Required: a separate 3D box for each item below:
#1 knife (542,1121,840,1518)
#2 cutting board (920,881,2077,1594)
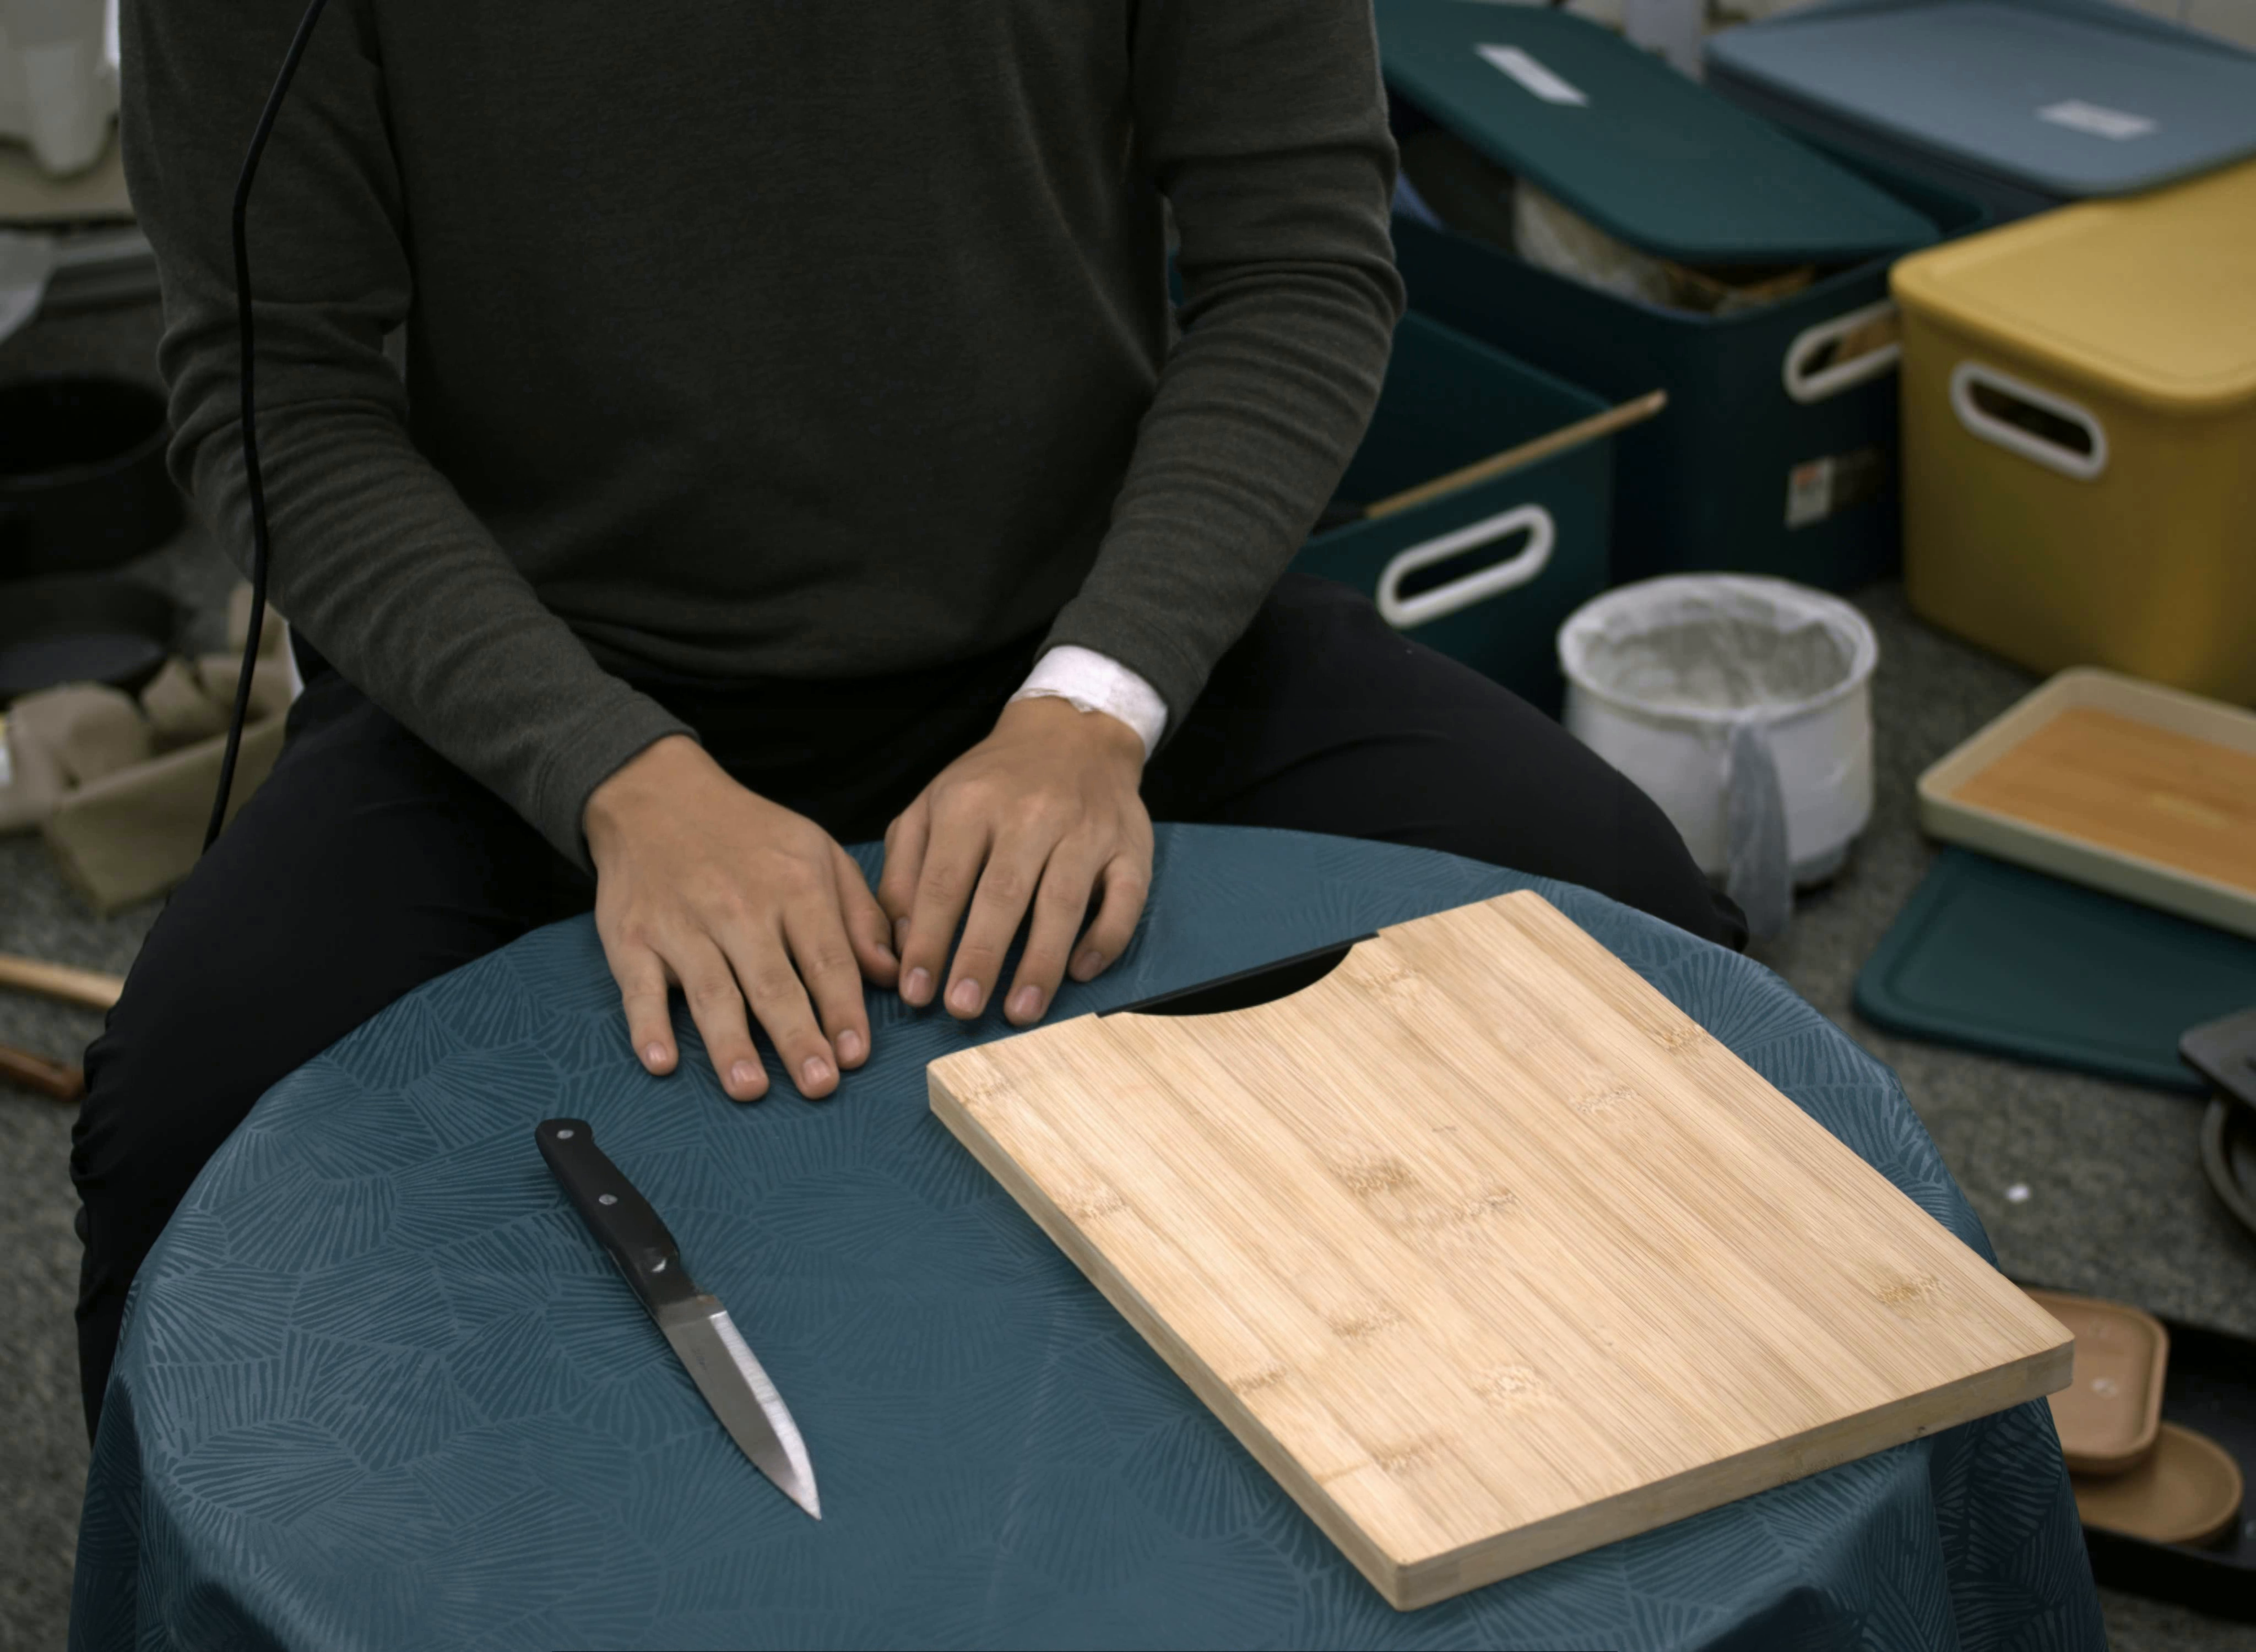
[{"bbox_3d":[-0.141,0.158,1.793,0.024,0.016,0.240,-16,32,-20],"label":"knife"},{"bbox_3d":[0.110,0.125,1.828,0.252,0.023,0.350,-15,30,-23],"label":"cutting board"}]
